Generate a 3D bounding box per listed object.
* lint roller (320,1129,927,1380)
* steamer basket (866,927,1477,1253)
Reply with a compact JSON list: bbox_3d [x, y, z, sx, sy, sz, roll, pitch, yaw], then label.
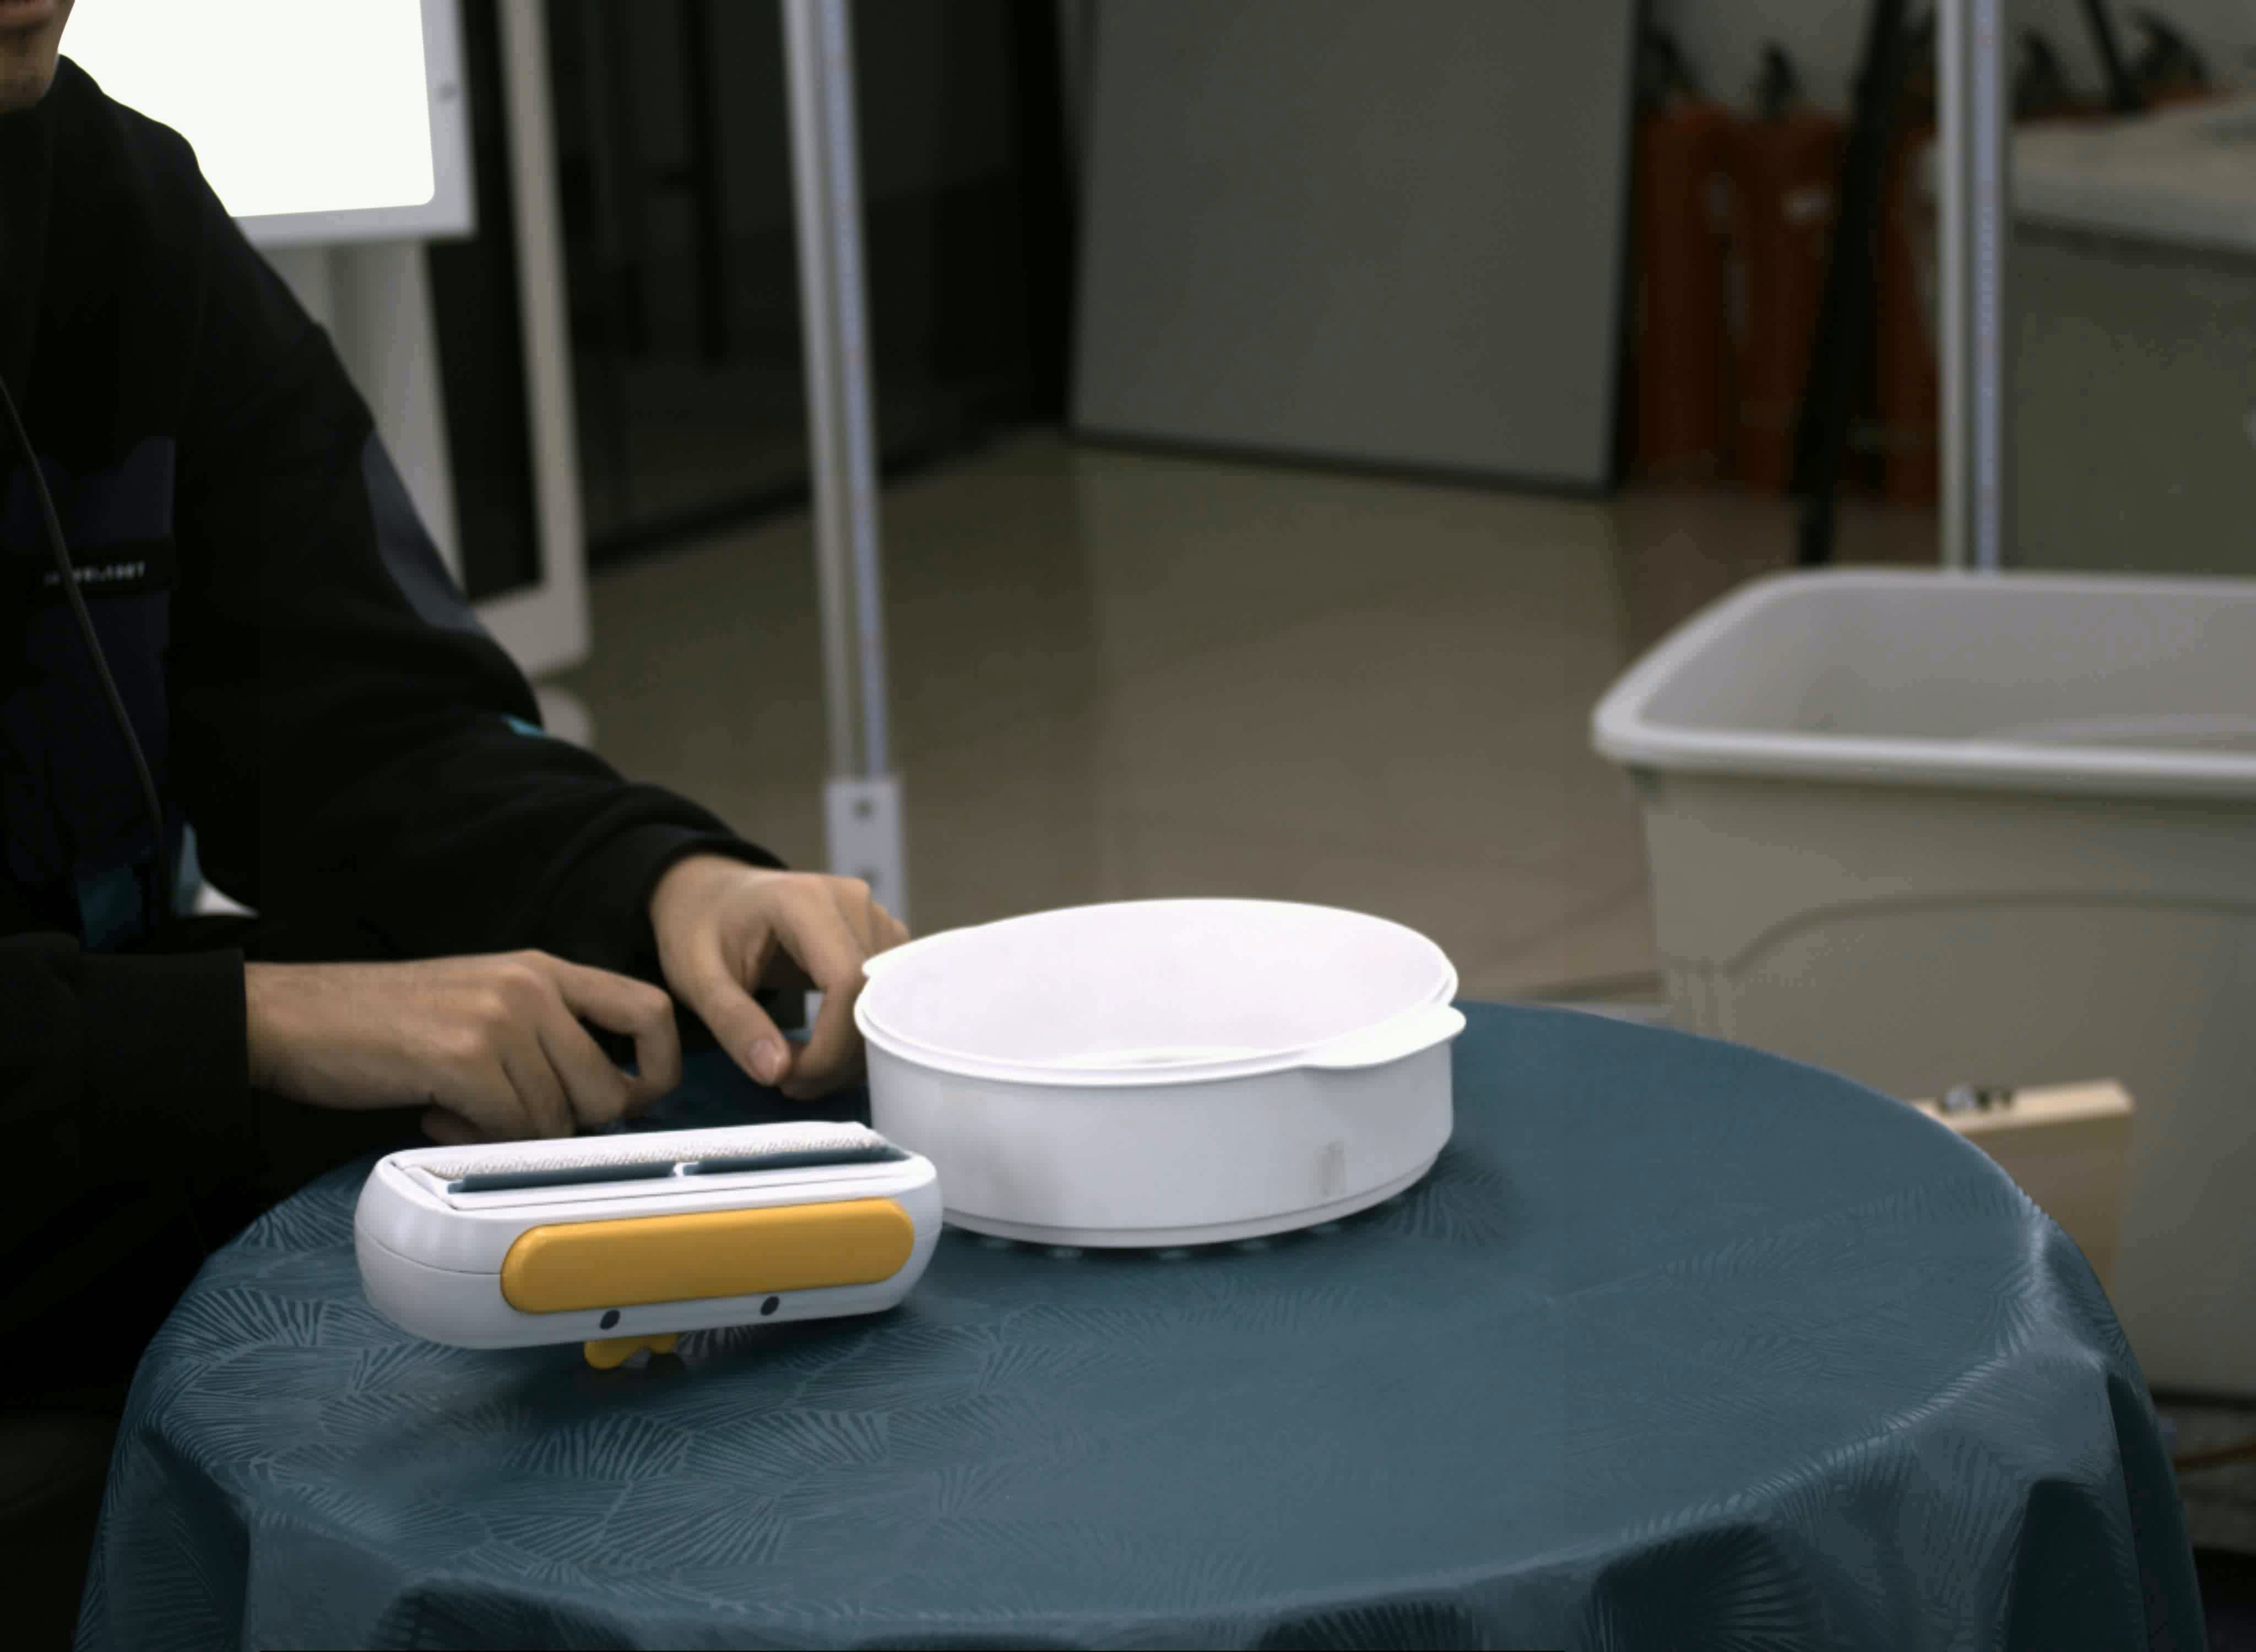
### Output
[{"bbox_3d":[-0.180,0.122,1.679,0.188,0.075,0.194,-6,11,-32],"label":"lint roller"},{"bbox_3d":[0.015,0.087,1.778,0.232,0.070,0.198,5,15,42],"label":"steamer basket"}]
